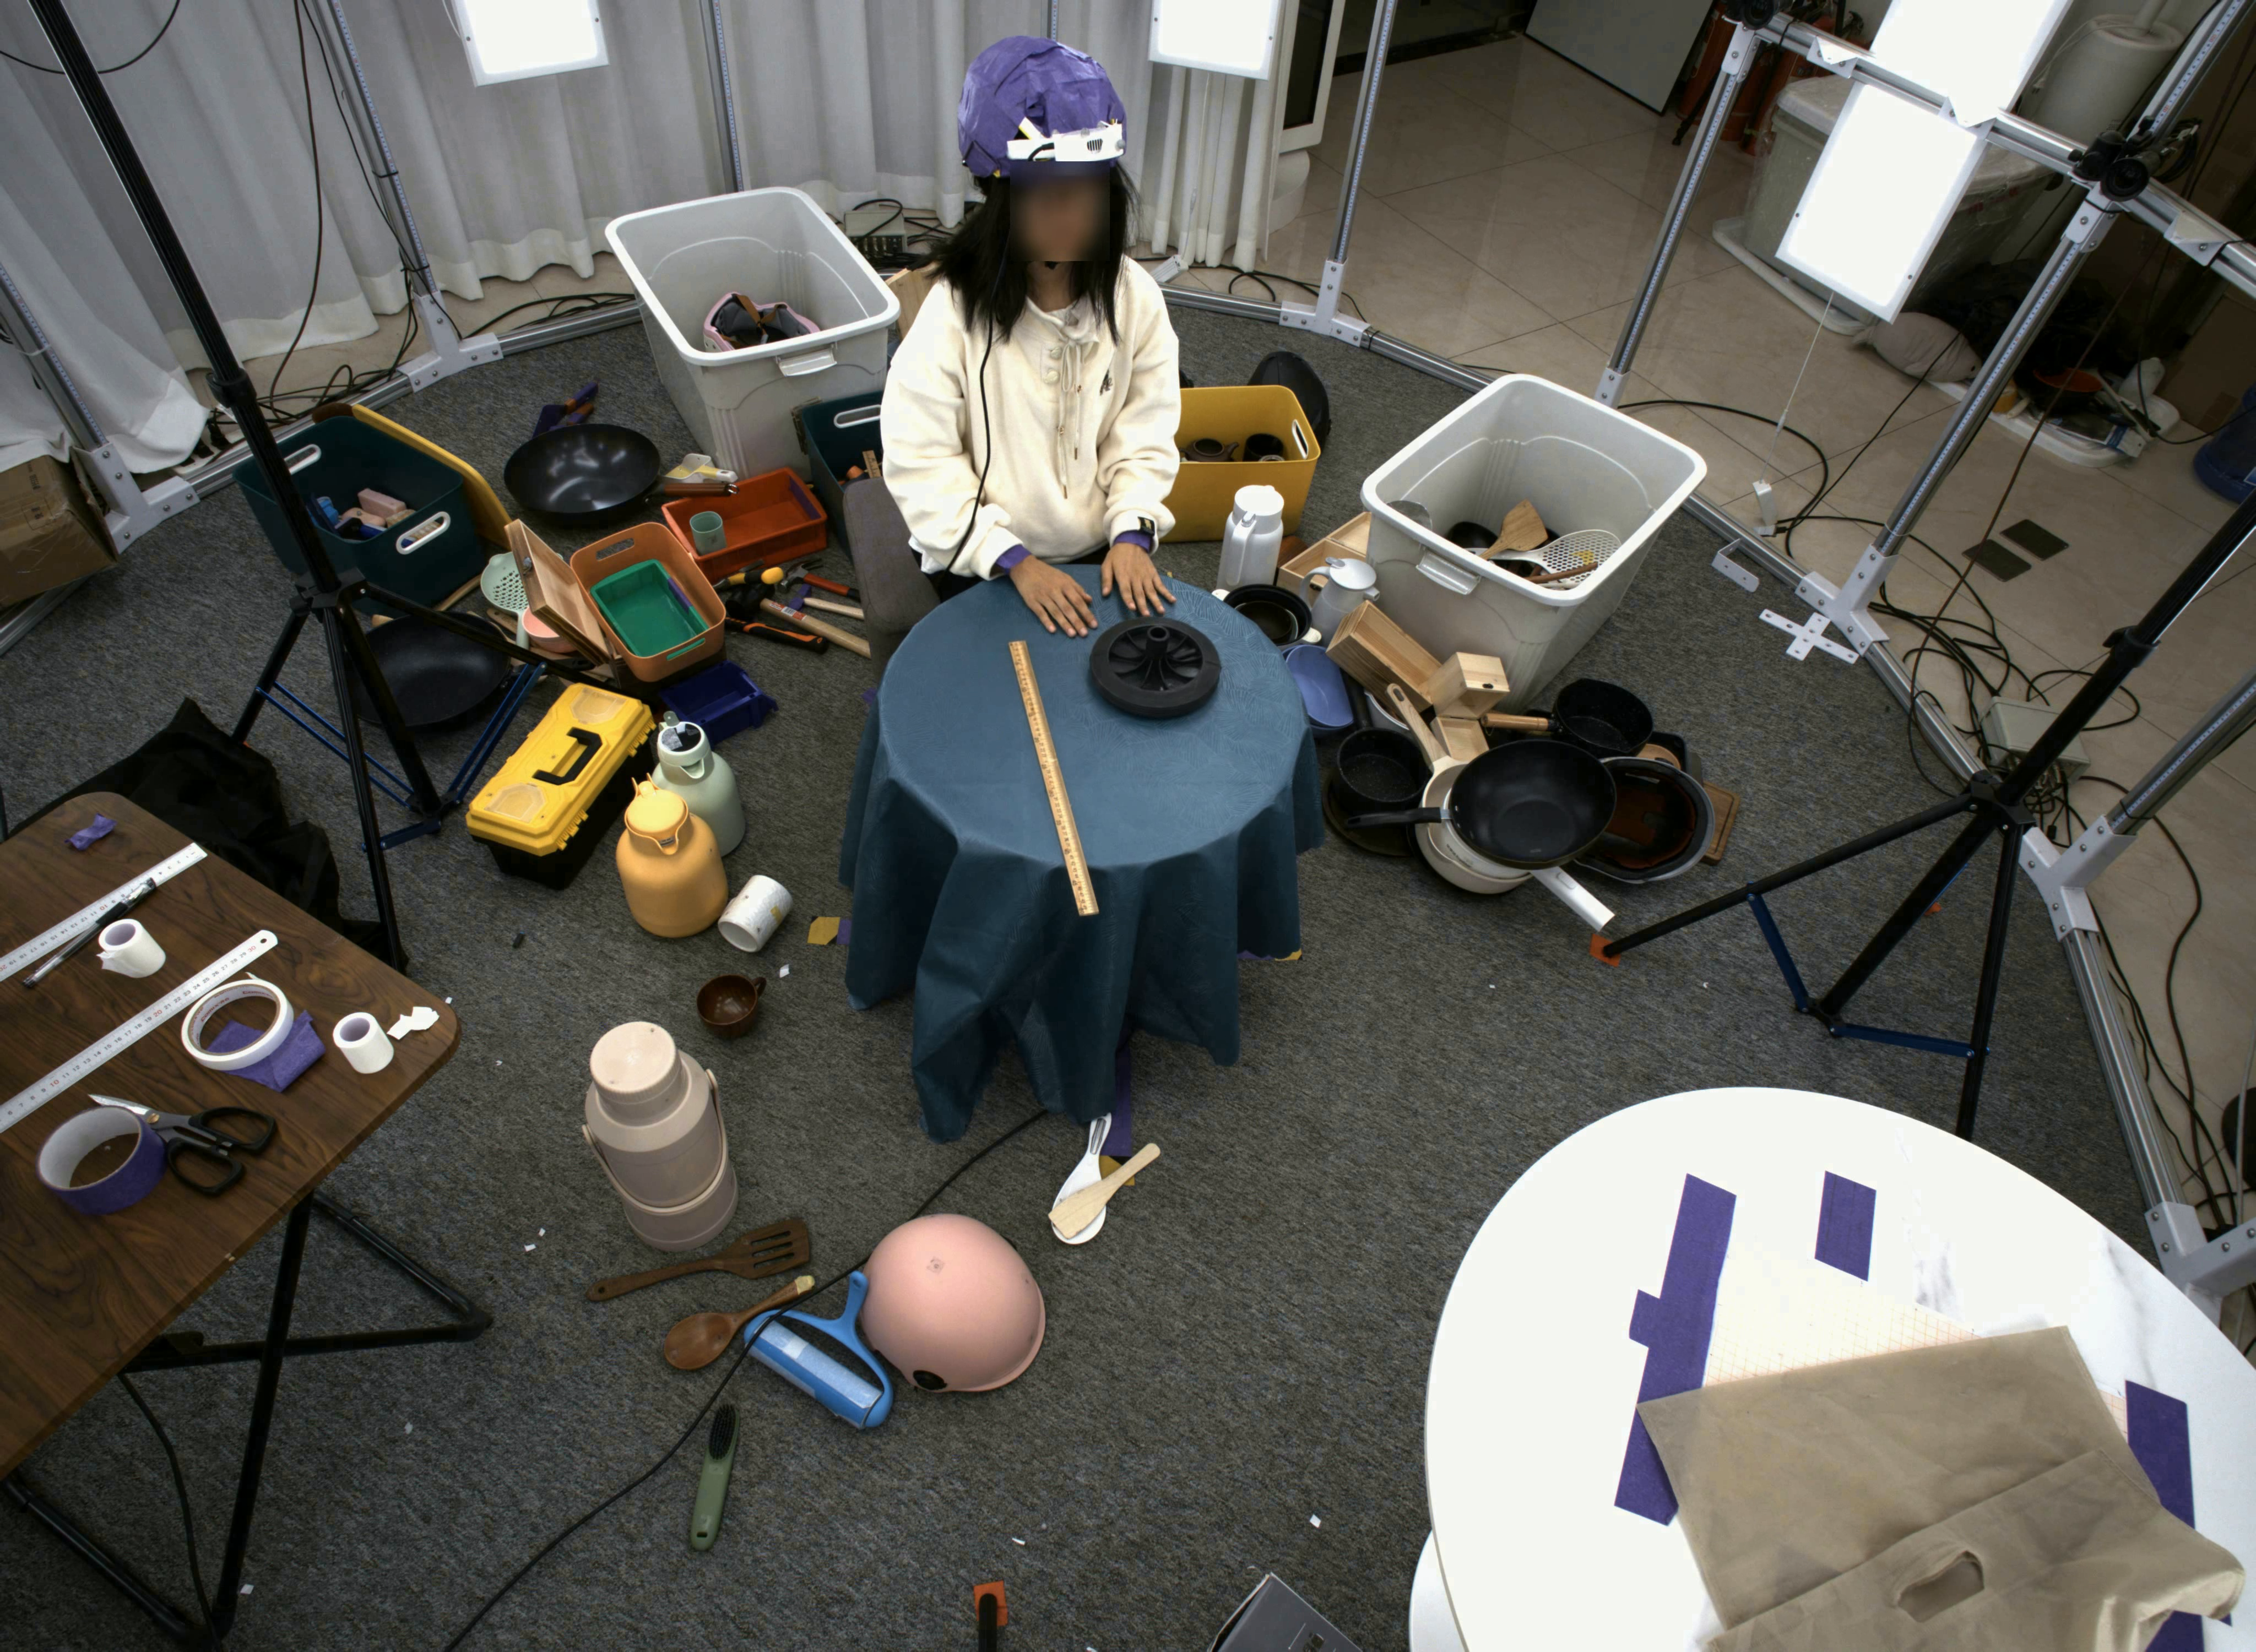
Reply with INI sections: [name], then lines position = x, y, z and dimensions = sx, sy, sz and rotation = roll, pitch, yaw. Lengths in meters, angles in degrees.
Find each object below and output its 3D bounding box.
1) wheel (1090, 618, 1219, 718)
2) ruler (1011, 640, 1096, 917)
[wheel]
position = 0.040, -0.243, 1.834
dimensions = 0.190, 0.077, 0.192
rotation = 34, 56, 23
[ruler]
position = -0.106, -0.081, 1.730
dimensions = 0.027, 0.006, 0.513
rotation = -8, 50, -9
